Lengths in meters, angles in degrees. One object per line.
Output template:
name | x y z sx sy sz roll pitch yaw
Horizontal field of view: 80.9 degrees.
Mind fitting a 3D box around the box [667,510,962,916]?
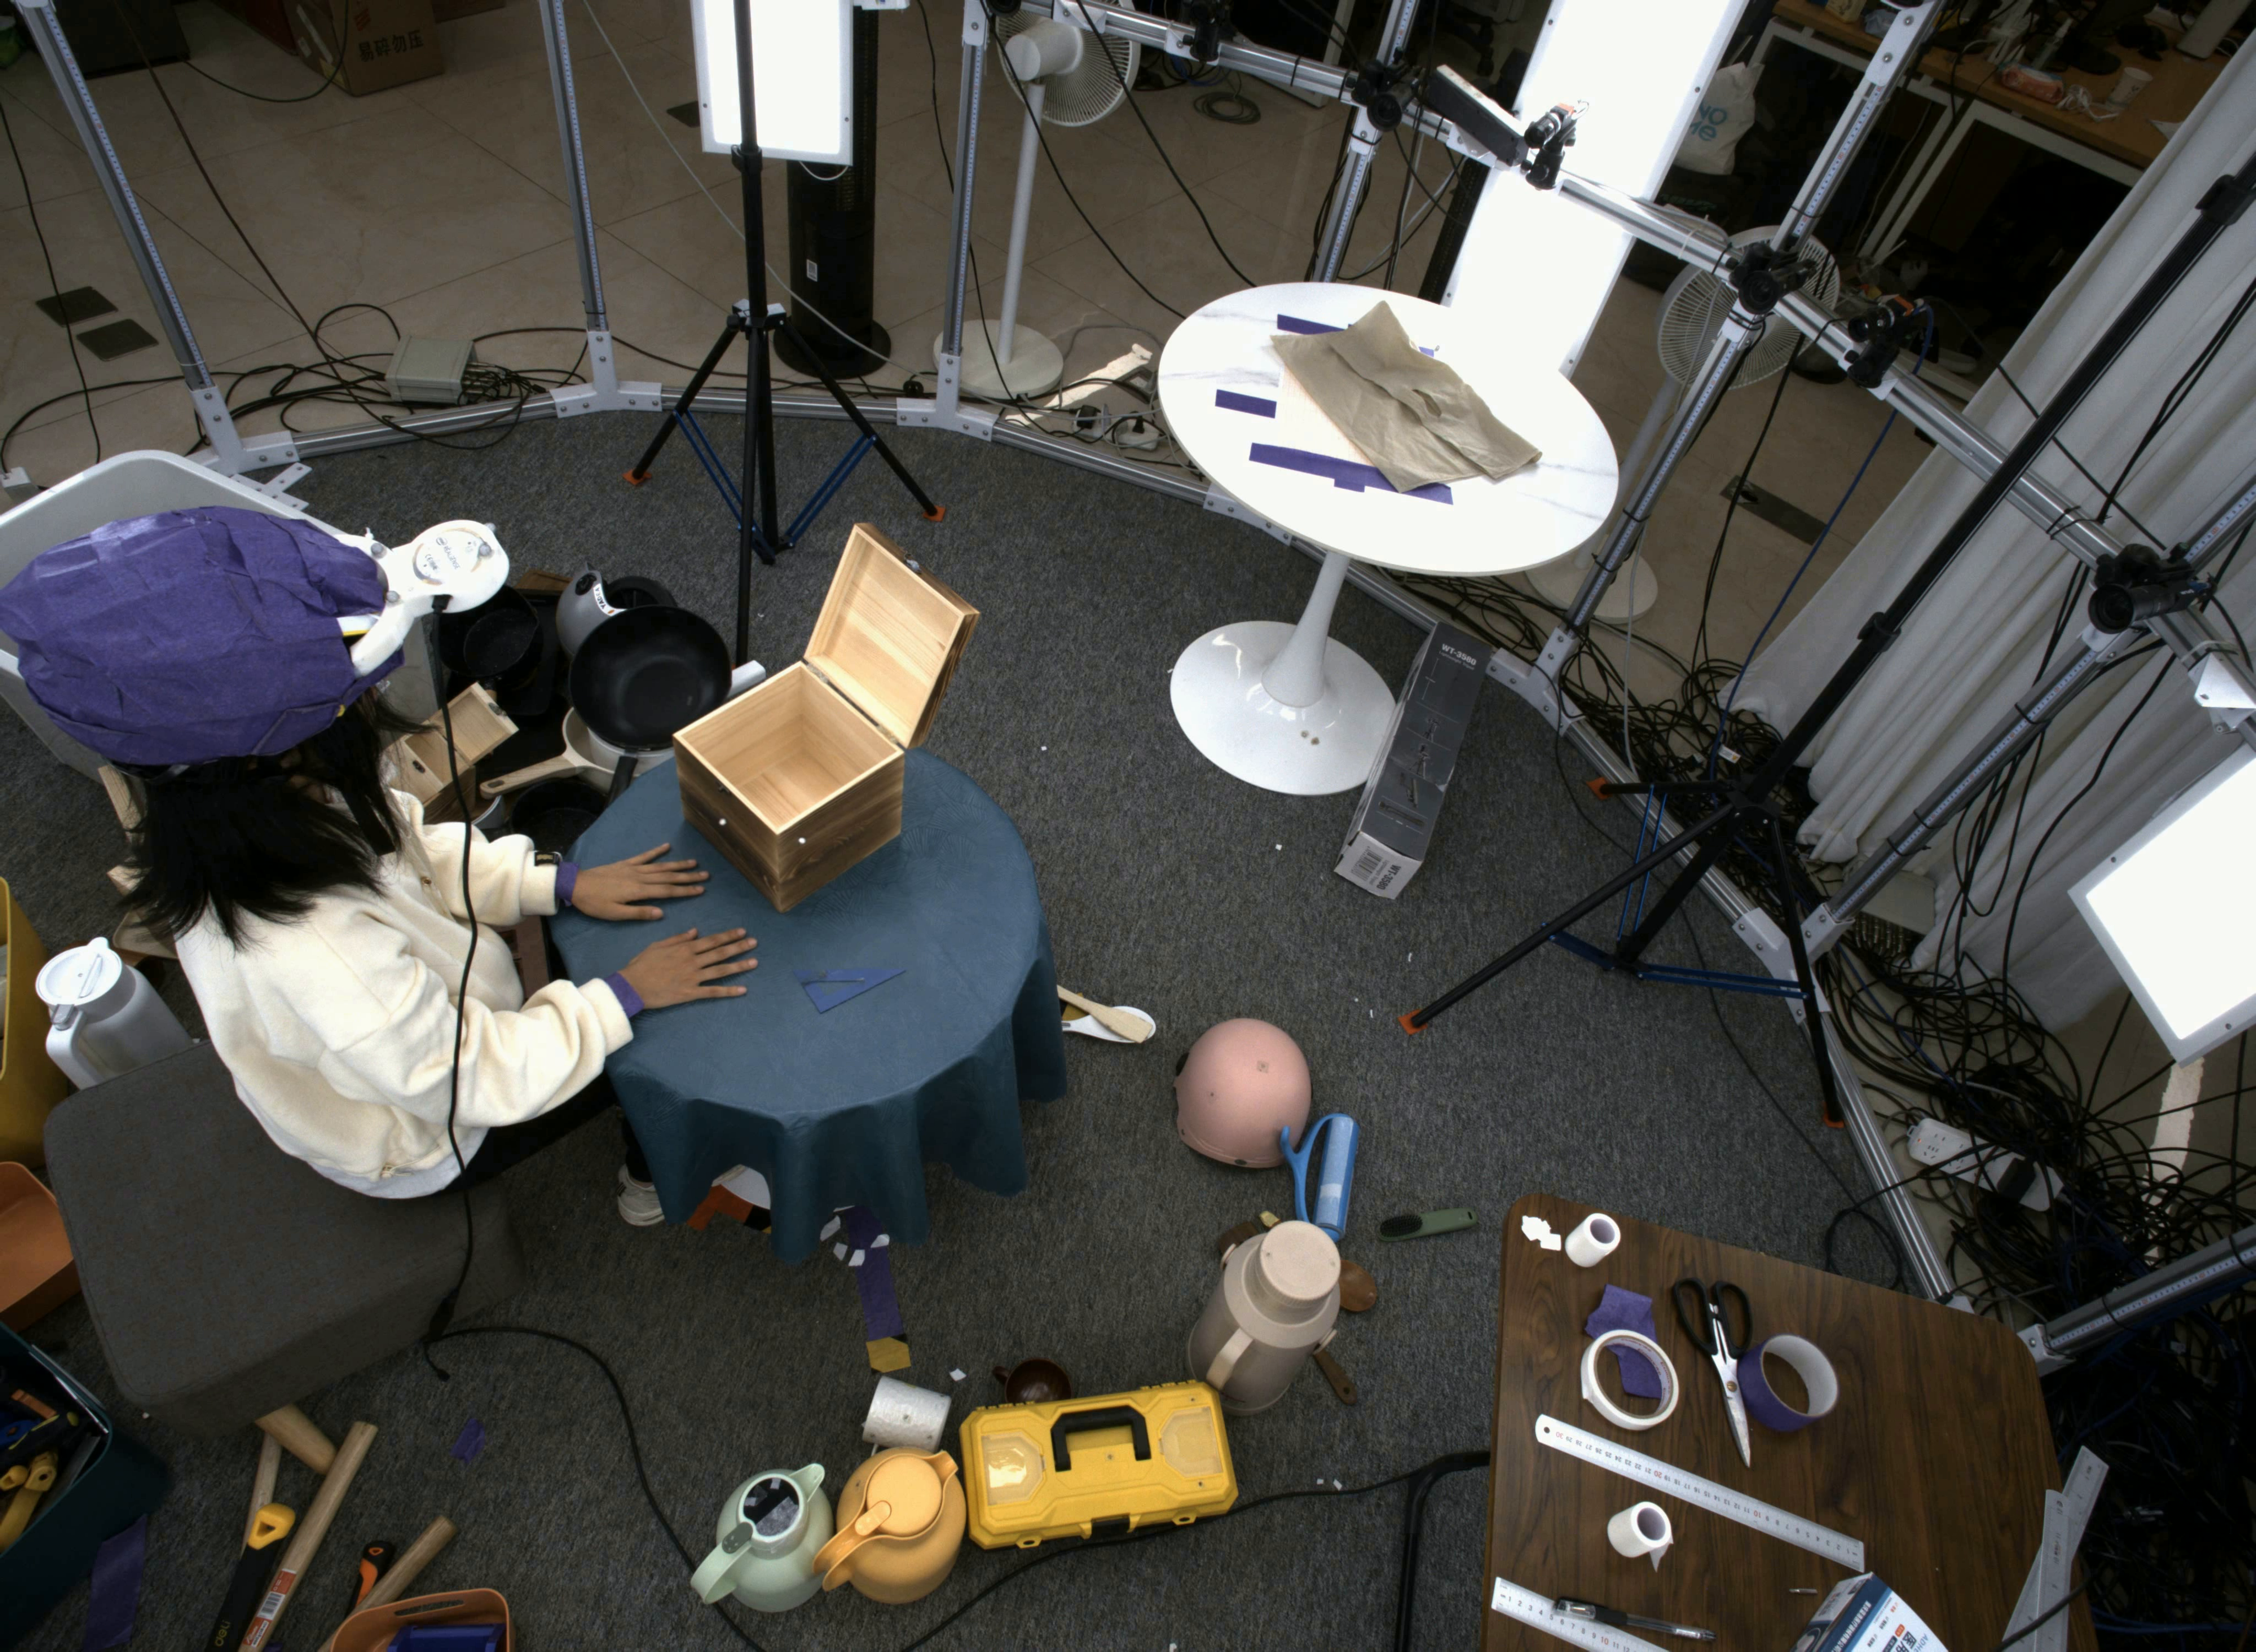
box | -0.386 -0.141 1.603 0.204 0.384 0.322 38 53 18

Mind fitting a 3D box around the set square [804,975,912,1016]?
set square | -0.331 0.204 1.587 0.132 0.007 0.060 3 51 -12
